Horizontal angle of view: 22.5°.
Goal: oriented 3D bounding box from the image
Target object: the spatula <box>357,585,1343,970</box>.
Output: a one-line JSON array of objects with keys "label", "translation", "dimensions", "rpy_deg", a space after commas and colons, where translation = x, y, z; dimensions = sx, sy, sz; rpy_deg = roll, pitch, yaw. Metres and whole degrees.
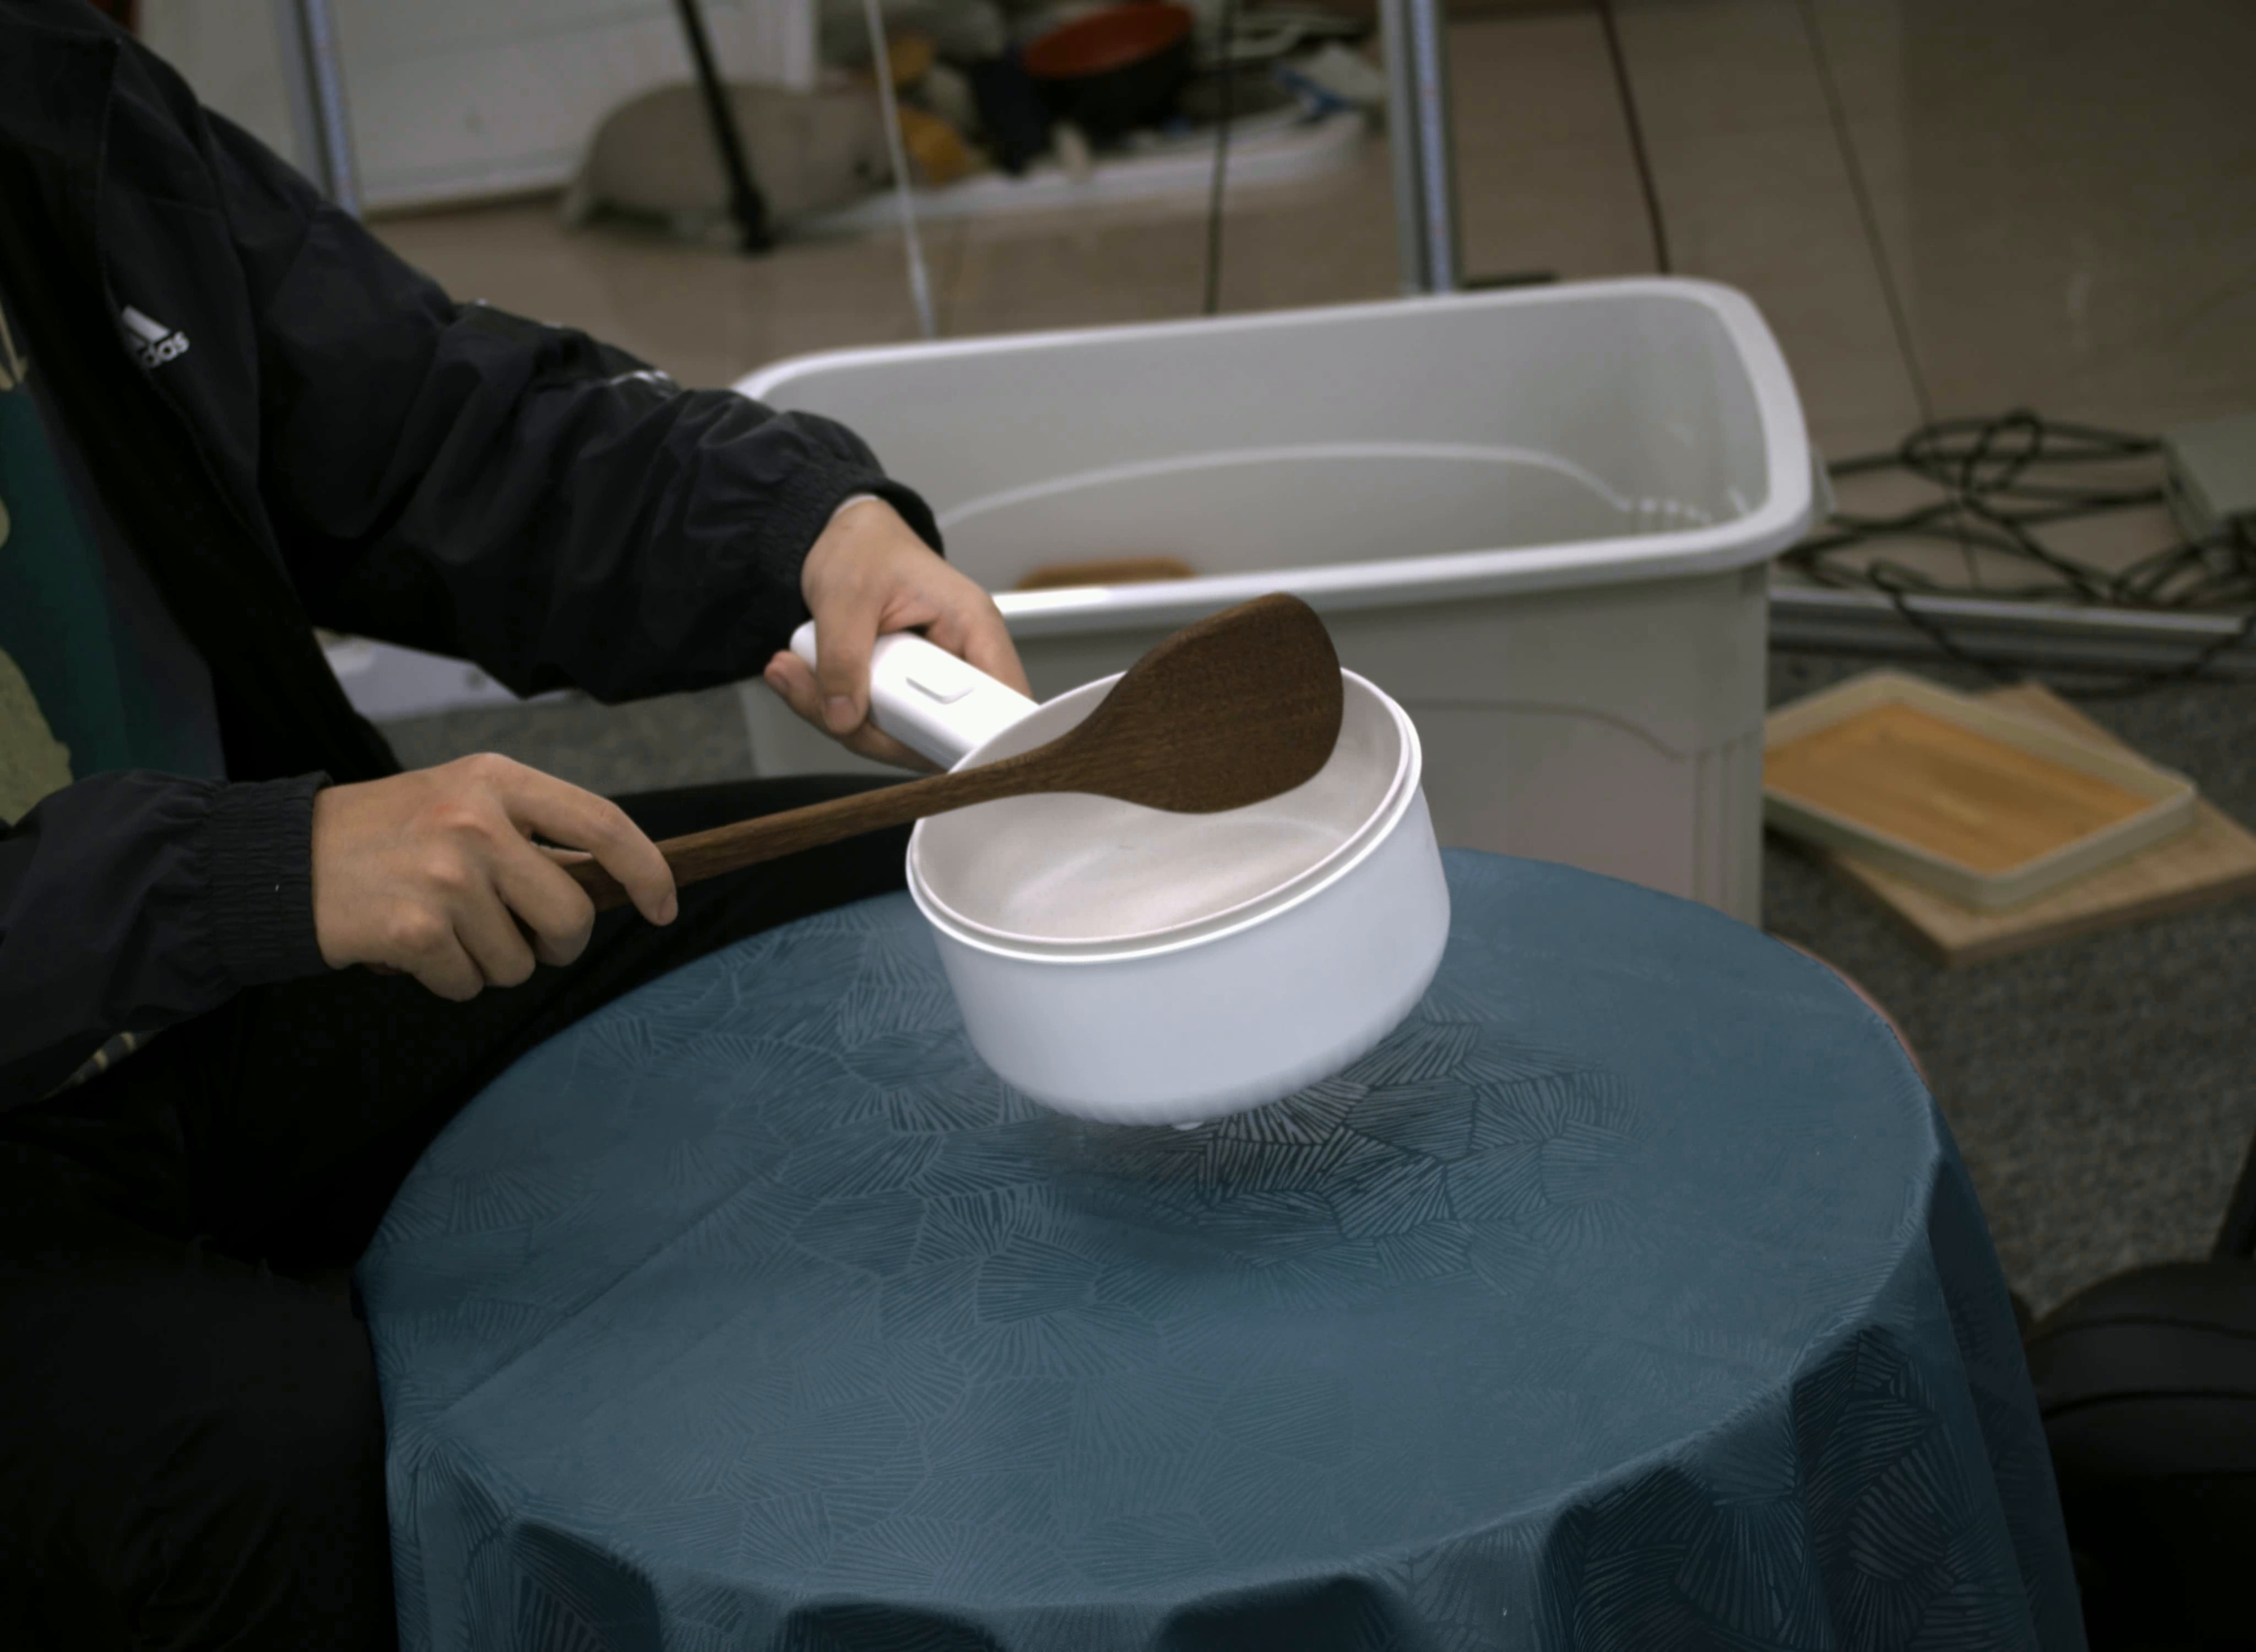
[{"label": "spatula", "translation": [-0.103, -0.007, 2.130], "dimensions": [0.385, 0.098, 0.015], "rpy_deg": [-15, 42, -5]}]

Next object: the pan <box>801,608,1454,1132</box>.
[{"label": "pan", "translation": [-0.017, 0.008, 2.225], "dimensions": [0.200, 0.104, 0.351], "rpy_deg": [-32, 33, -21]}]
